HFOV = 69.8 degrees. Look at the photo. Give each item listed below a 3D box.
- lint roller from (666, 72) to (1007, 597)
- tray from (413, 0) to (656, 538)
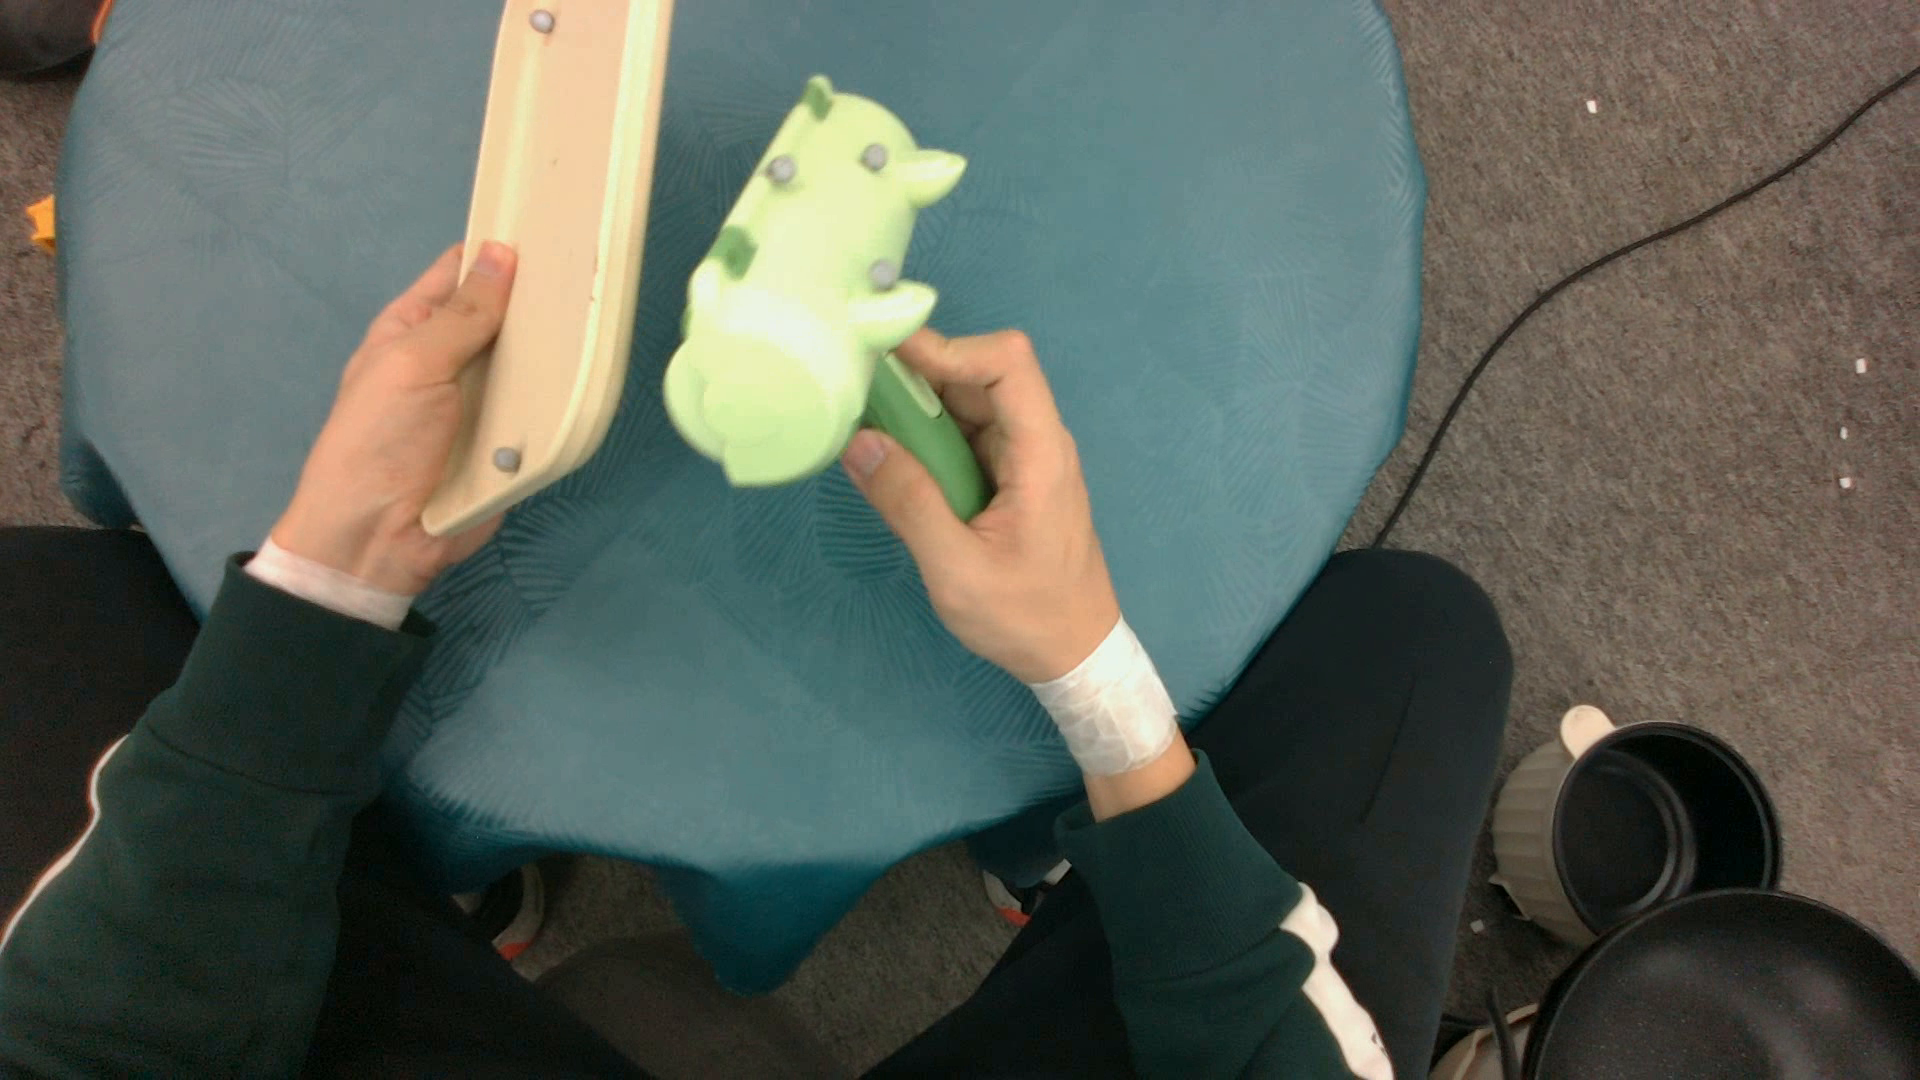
[{"bbox_3d":[-0.015,-0.058,0.474,0.082,0.199,0.183,-29,118,21],"label":"lint roller"},{"bbox_3d":[-0.143,-0.125,0.469,0.017,0.170,0.240,12,72,-33],"label":"tray"}]
